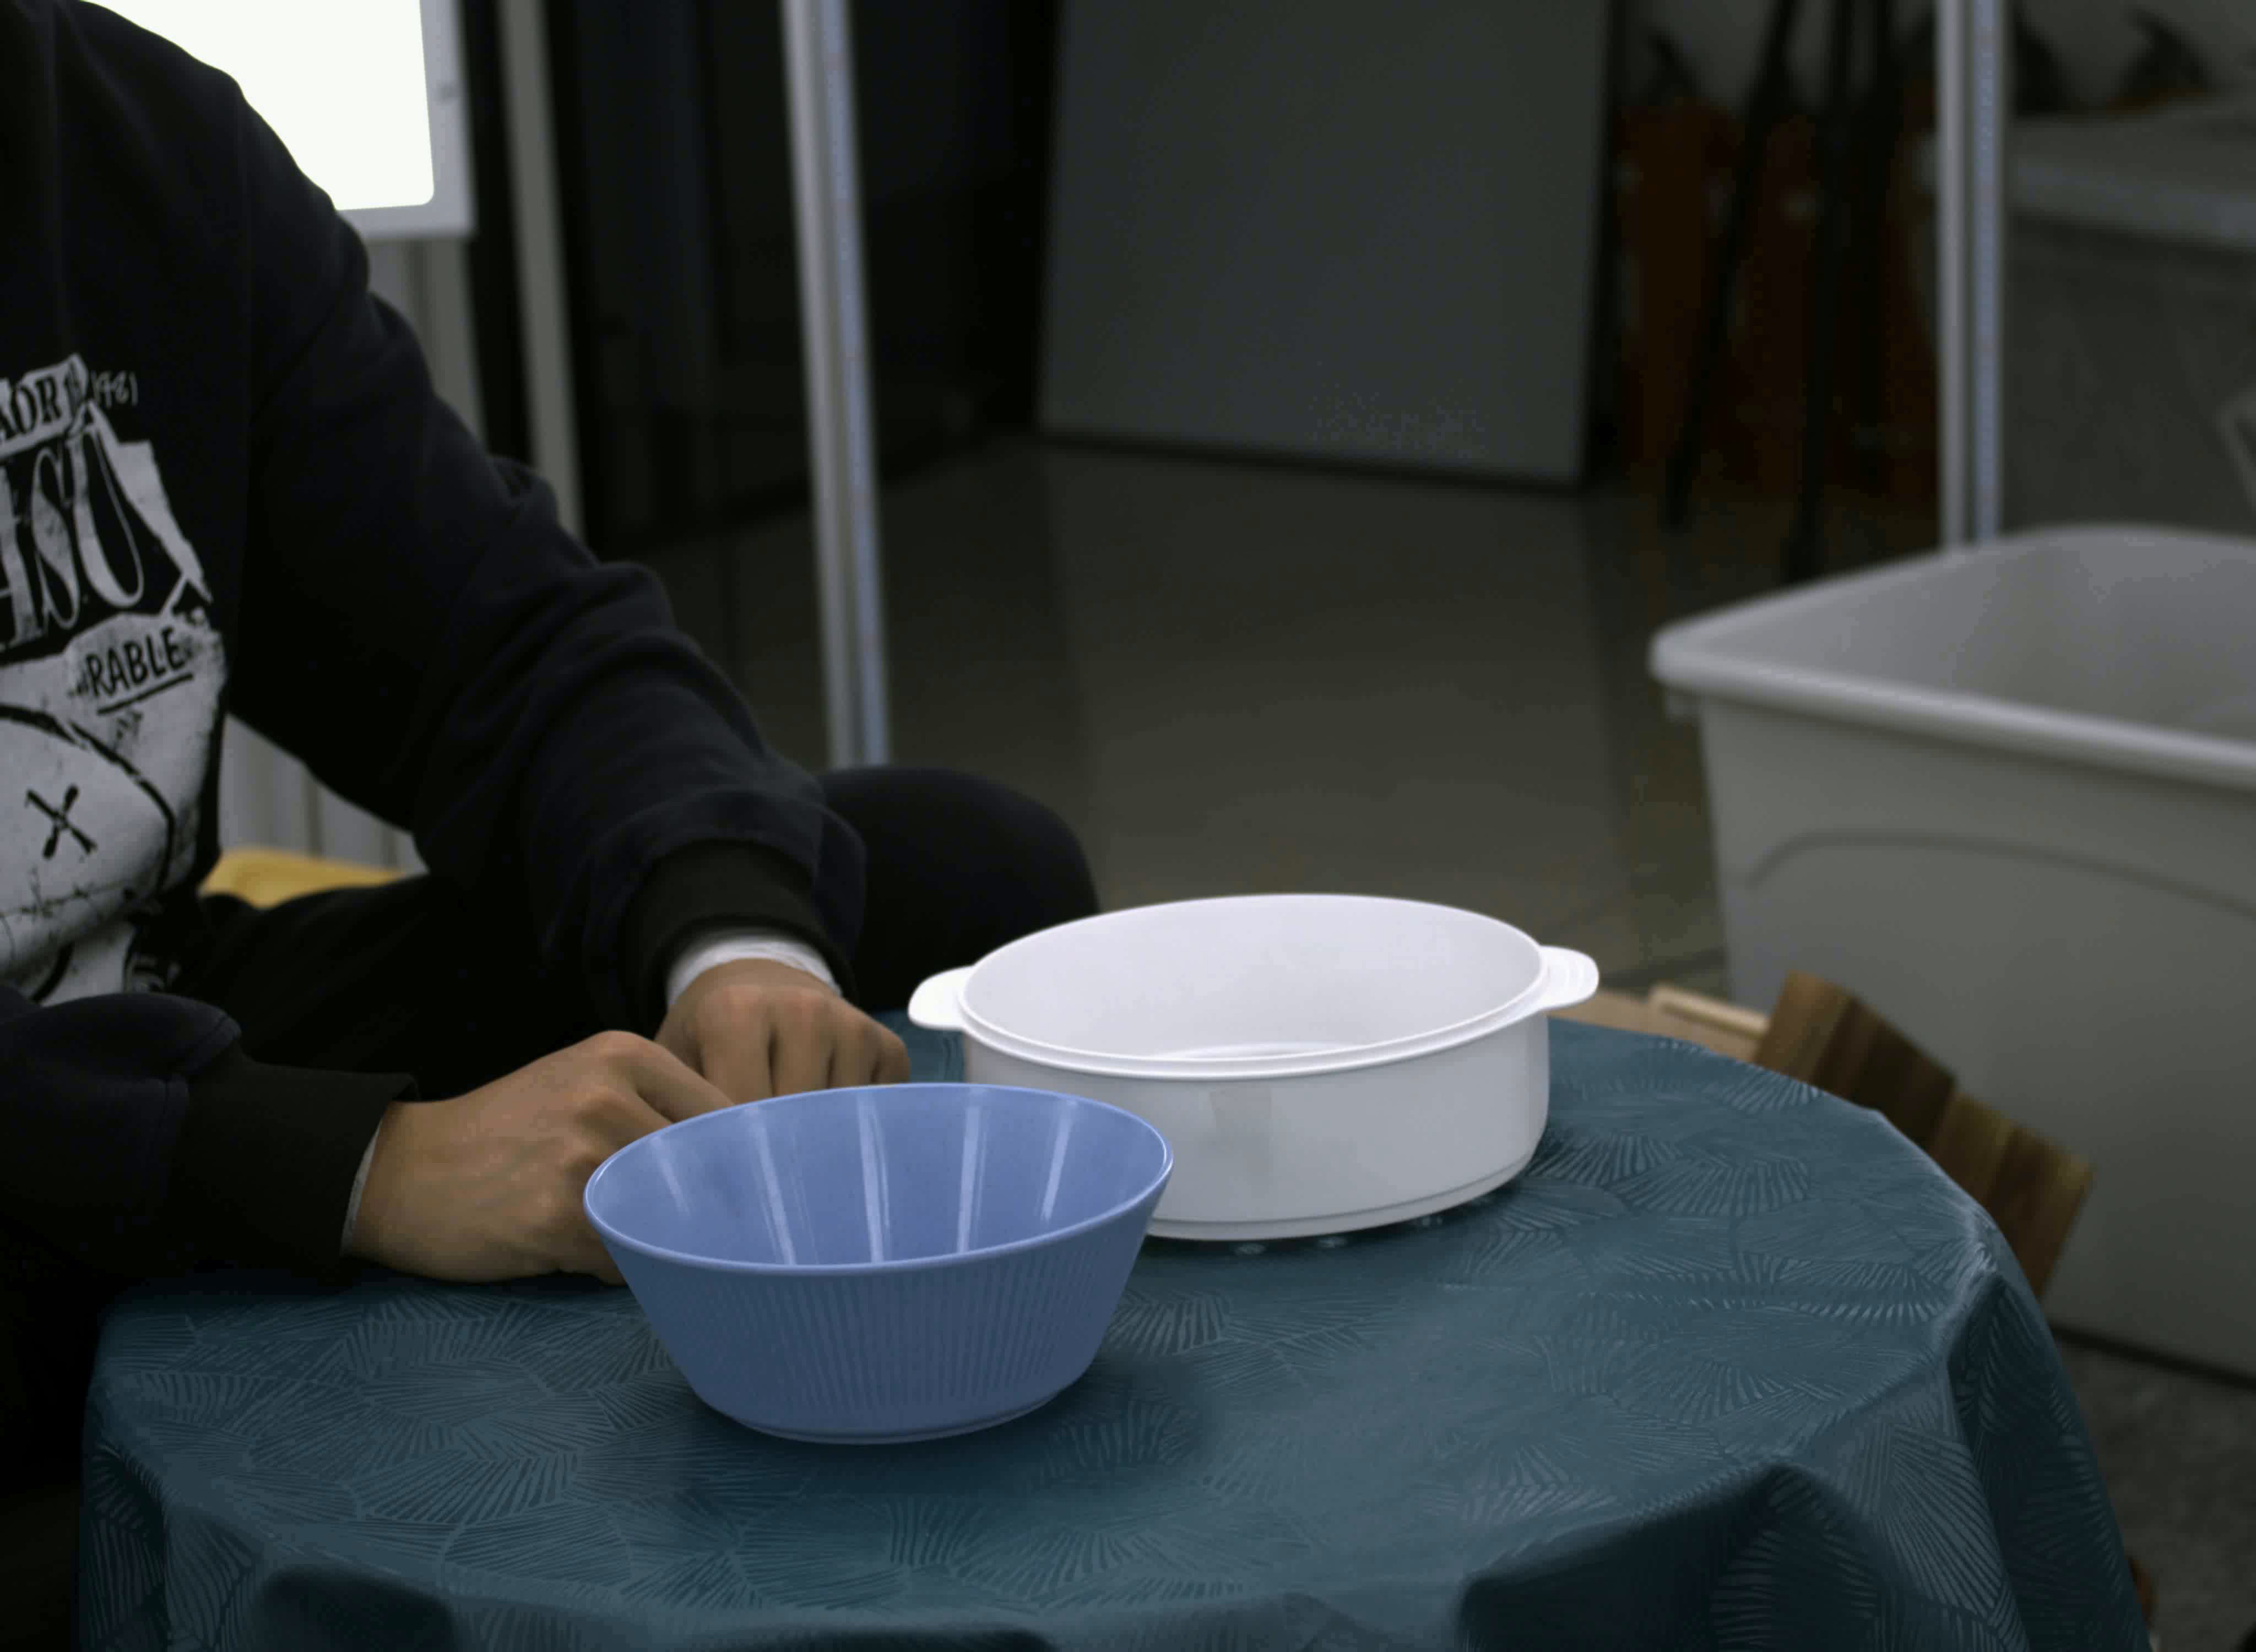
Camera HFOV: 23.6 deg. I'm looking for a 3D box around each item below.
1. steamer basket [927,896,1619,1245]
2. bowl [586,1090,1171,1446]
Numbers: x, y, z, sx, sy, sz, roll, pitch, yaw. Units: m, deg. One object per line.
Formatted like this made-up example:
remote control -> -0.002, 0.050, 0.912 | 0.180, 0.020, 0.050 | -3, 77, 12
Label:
steamer basket -> 0.048, 0.080, 1.780 | 0.228, 0.070, 0.201 | 0, 14, 5
bowl -> -0.071, 0.133, 1.596 | 0.174, 0.071, 0.176 | -4, 13, 0
